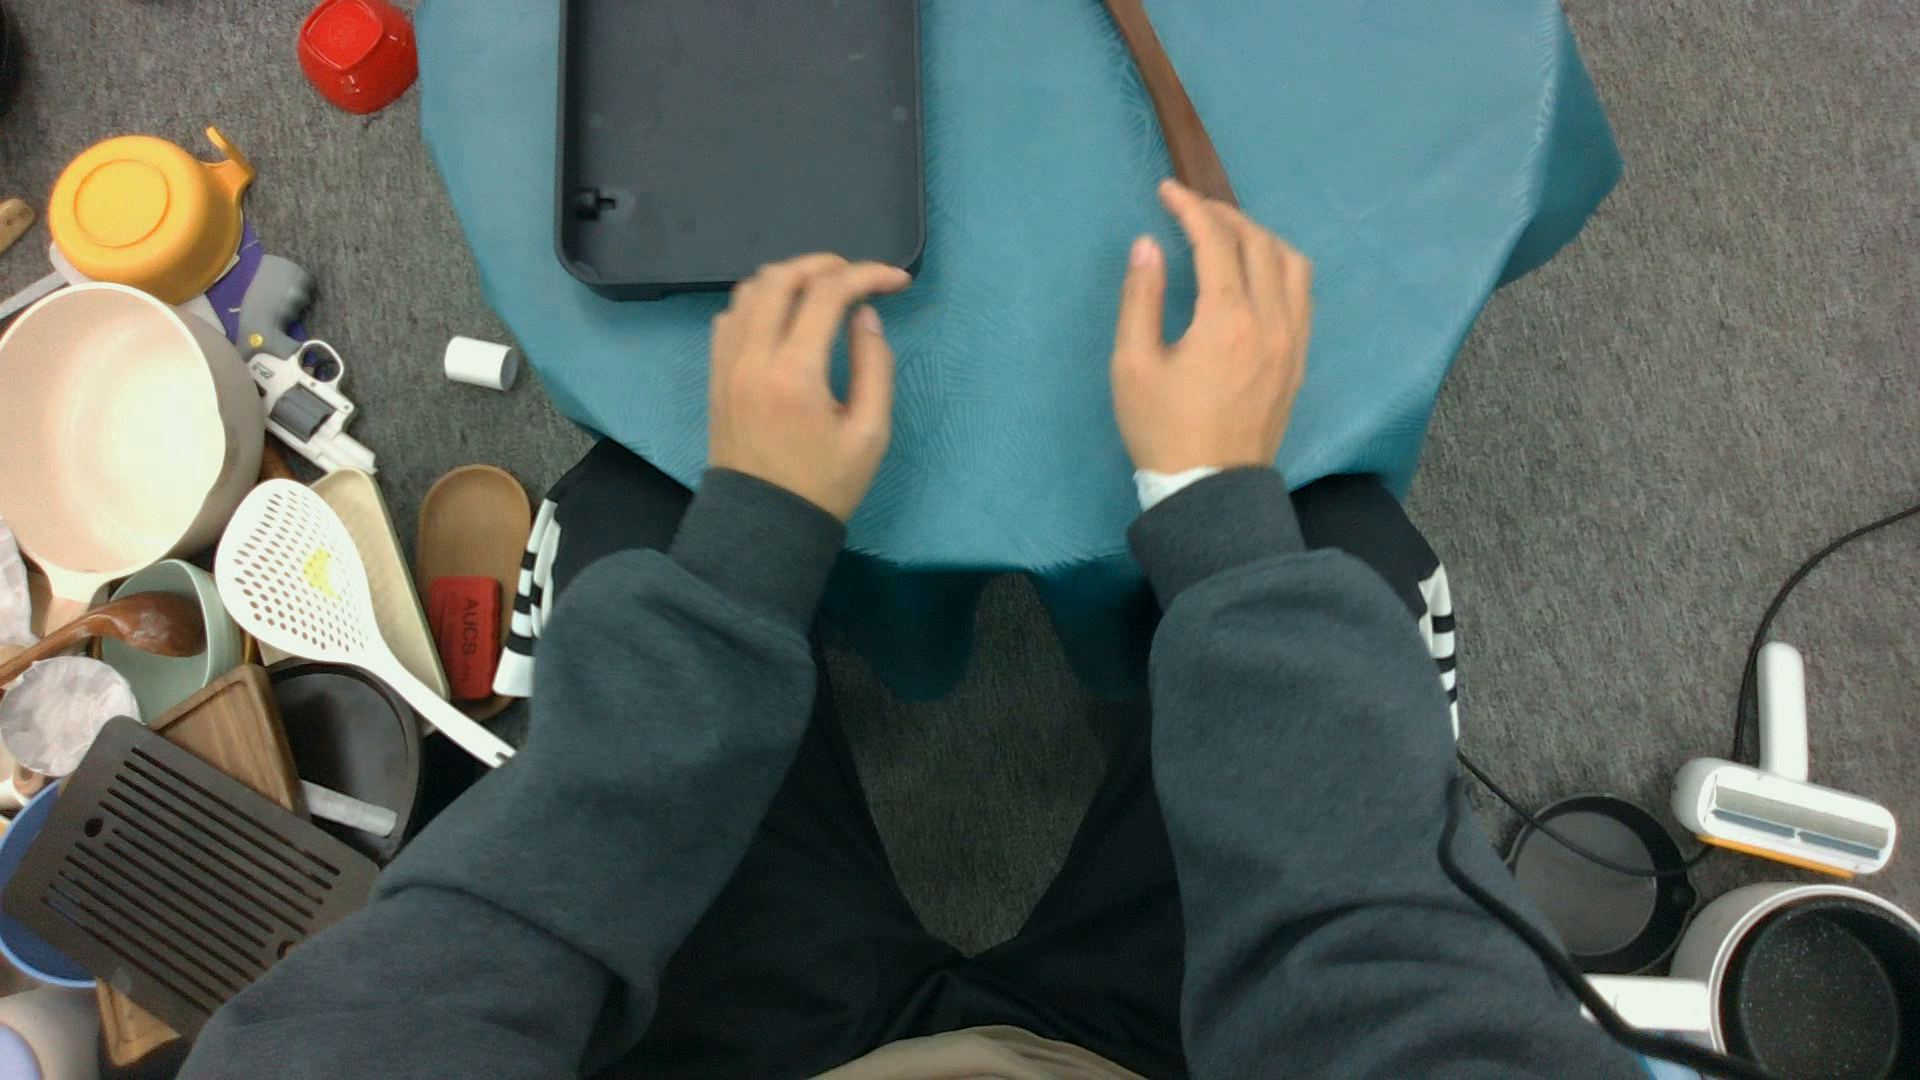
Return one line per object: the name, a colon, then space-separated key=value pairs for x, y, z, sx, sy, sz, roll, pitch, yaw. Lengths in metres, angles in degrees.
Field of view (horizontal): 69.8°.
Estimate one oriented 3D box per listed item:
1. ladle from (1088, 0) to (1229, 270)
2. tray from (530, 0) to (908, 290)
ladle: x=0.086 y=-0.263 z=0.697 sx=0.076 sy=0.065 sz=0.260 roll=-19 pitch=82 yaw=-5
tray: x=-0.123 y=-0.285 z=0.709 sx=0.184 sy=0.037 sz=0.318 roll=-2 pitch=80 yaw=-1
